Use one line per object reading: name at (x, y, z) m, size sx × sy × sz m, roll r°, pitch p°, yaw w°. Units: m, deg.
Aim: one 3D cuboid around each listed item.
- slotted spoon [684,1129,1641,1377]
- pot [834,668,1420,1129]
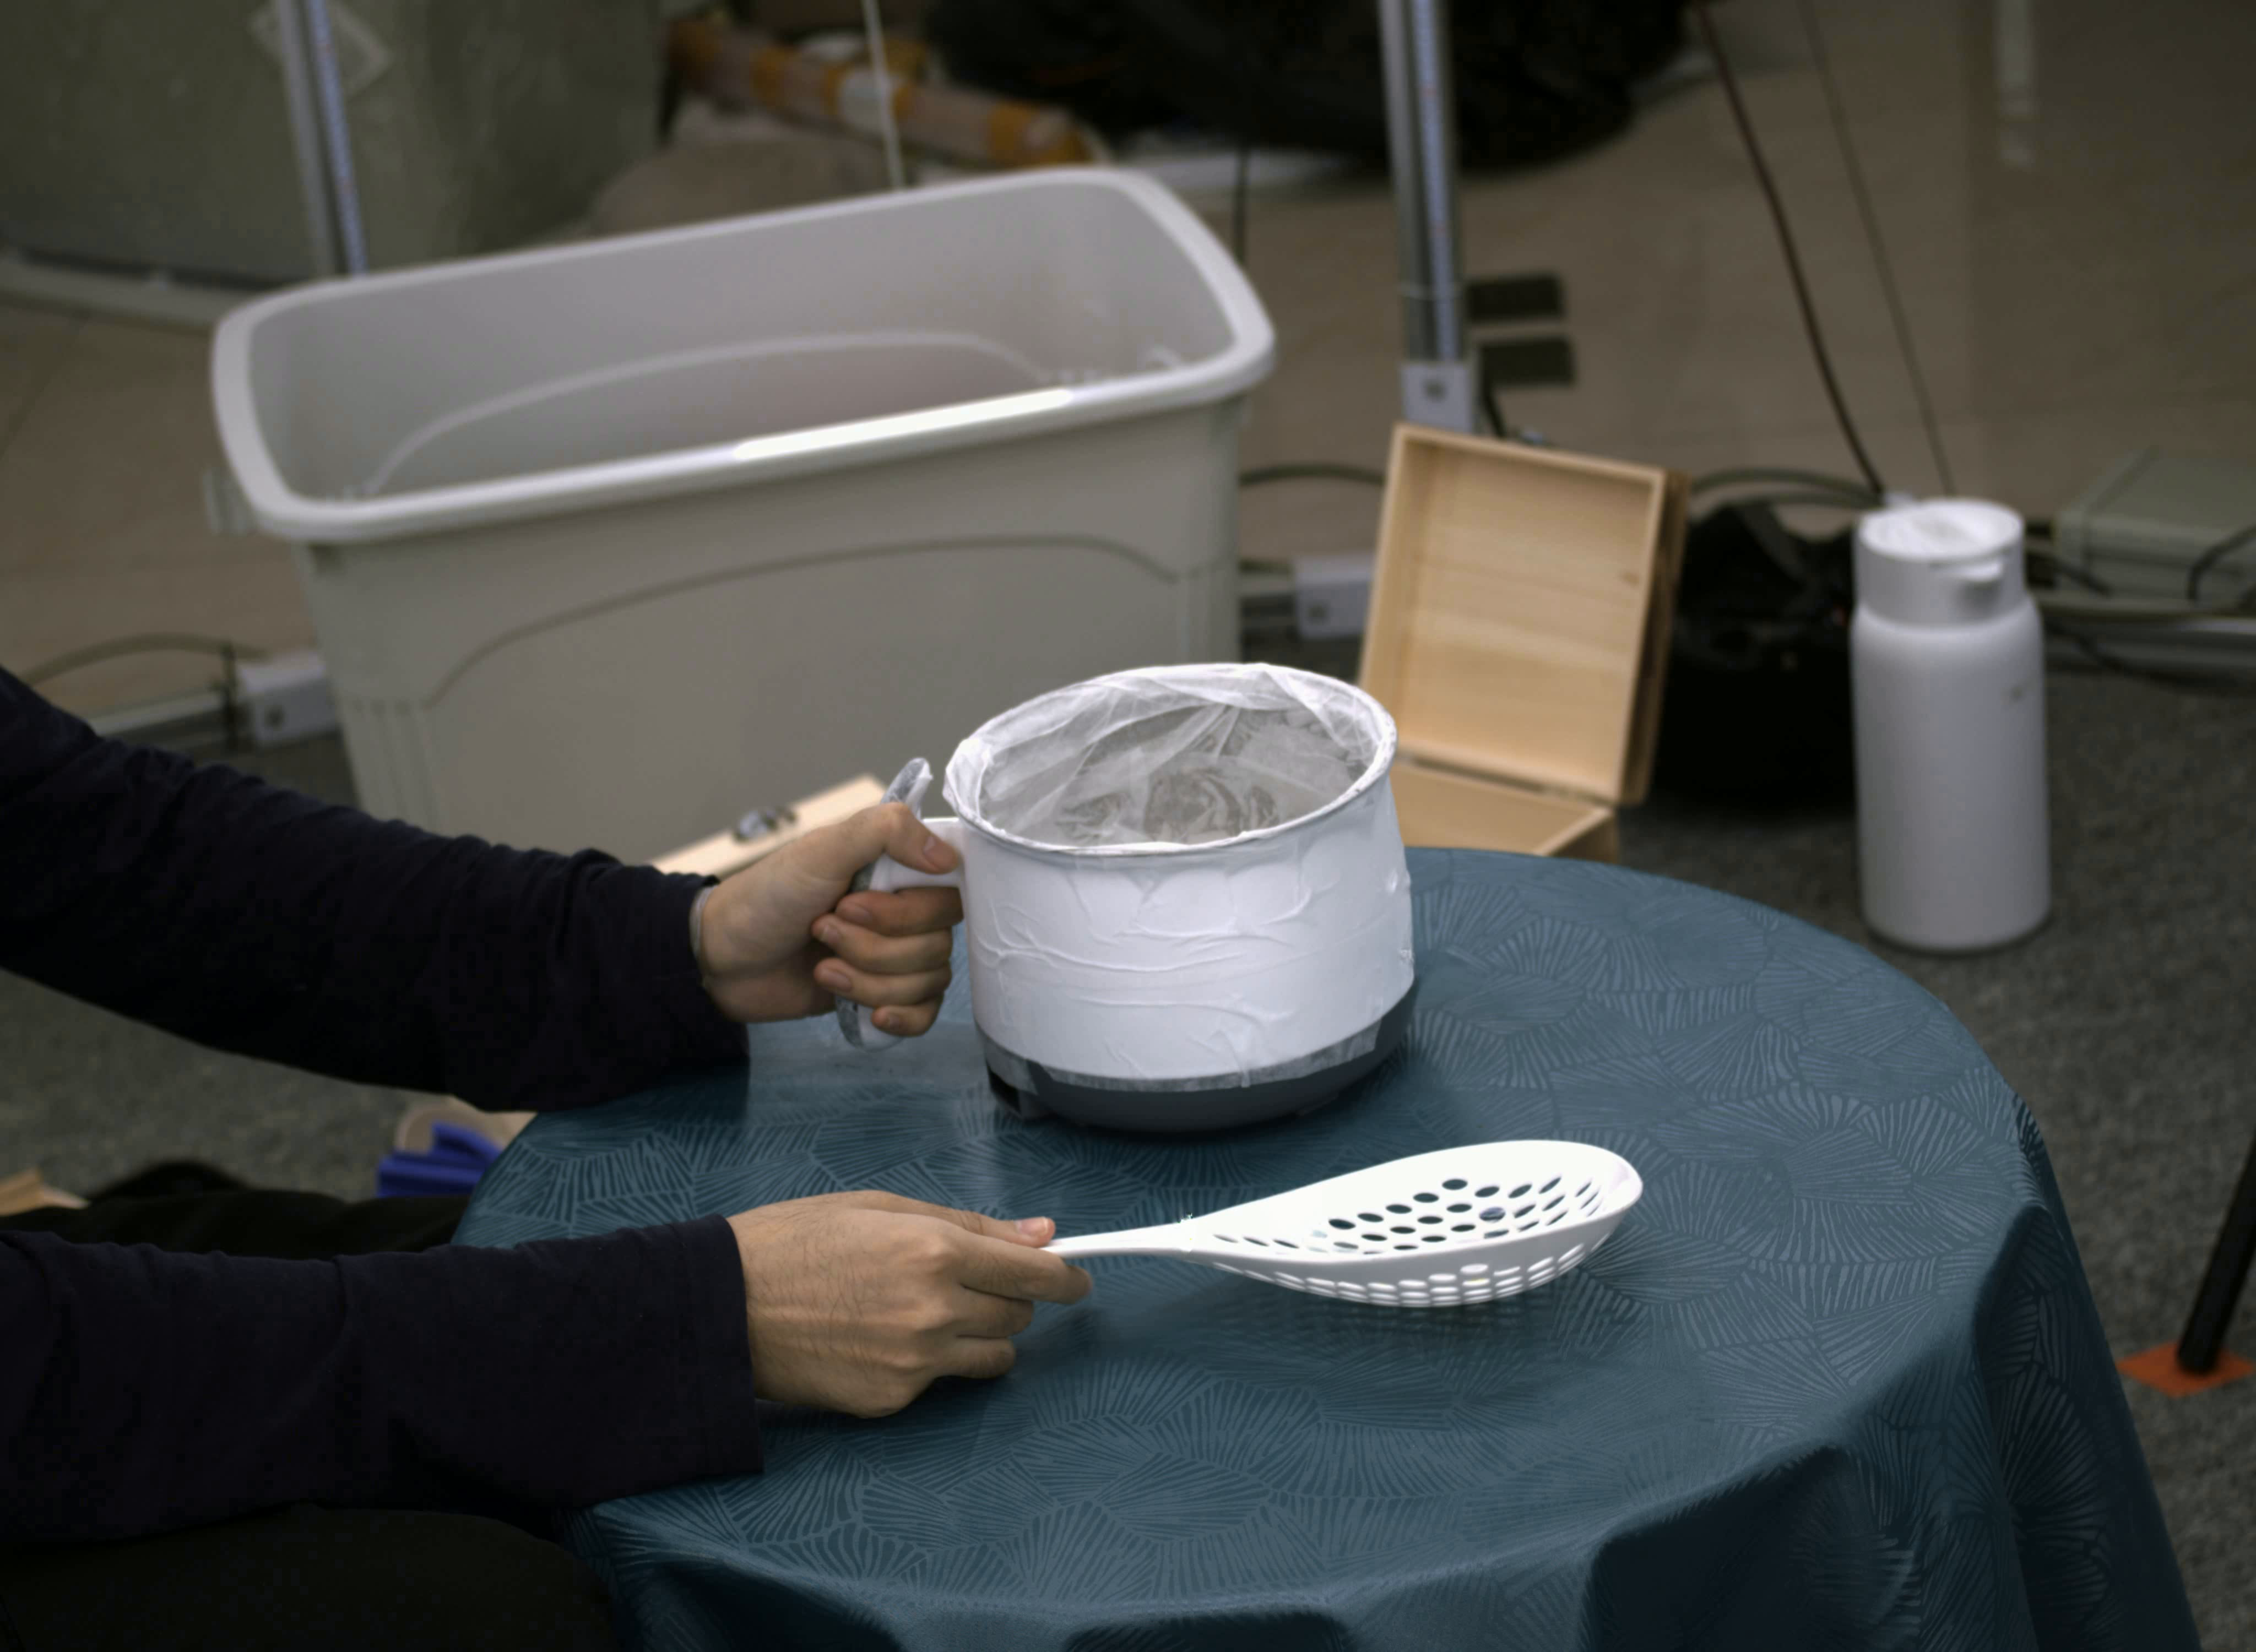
slotted spoon at (0.012, 0.158, 2.041) m, size 0.347 × 0.051 × 0.135 m, roll -4°, pitch 12°, yaw -1°
pot at (-0.004, 0.031, 2.219) m, size 0.233 × 0.138 × 0.176 m, roll -4°, pitch 23°, yaw 6°
